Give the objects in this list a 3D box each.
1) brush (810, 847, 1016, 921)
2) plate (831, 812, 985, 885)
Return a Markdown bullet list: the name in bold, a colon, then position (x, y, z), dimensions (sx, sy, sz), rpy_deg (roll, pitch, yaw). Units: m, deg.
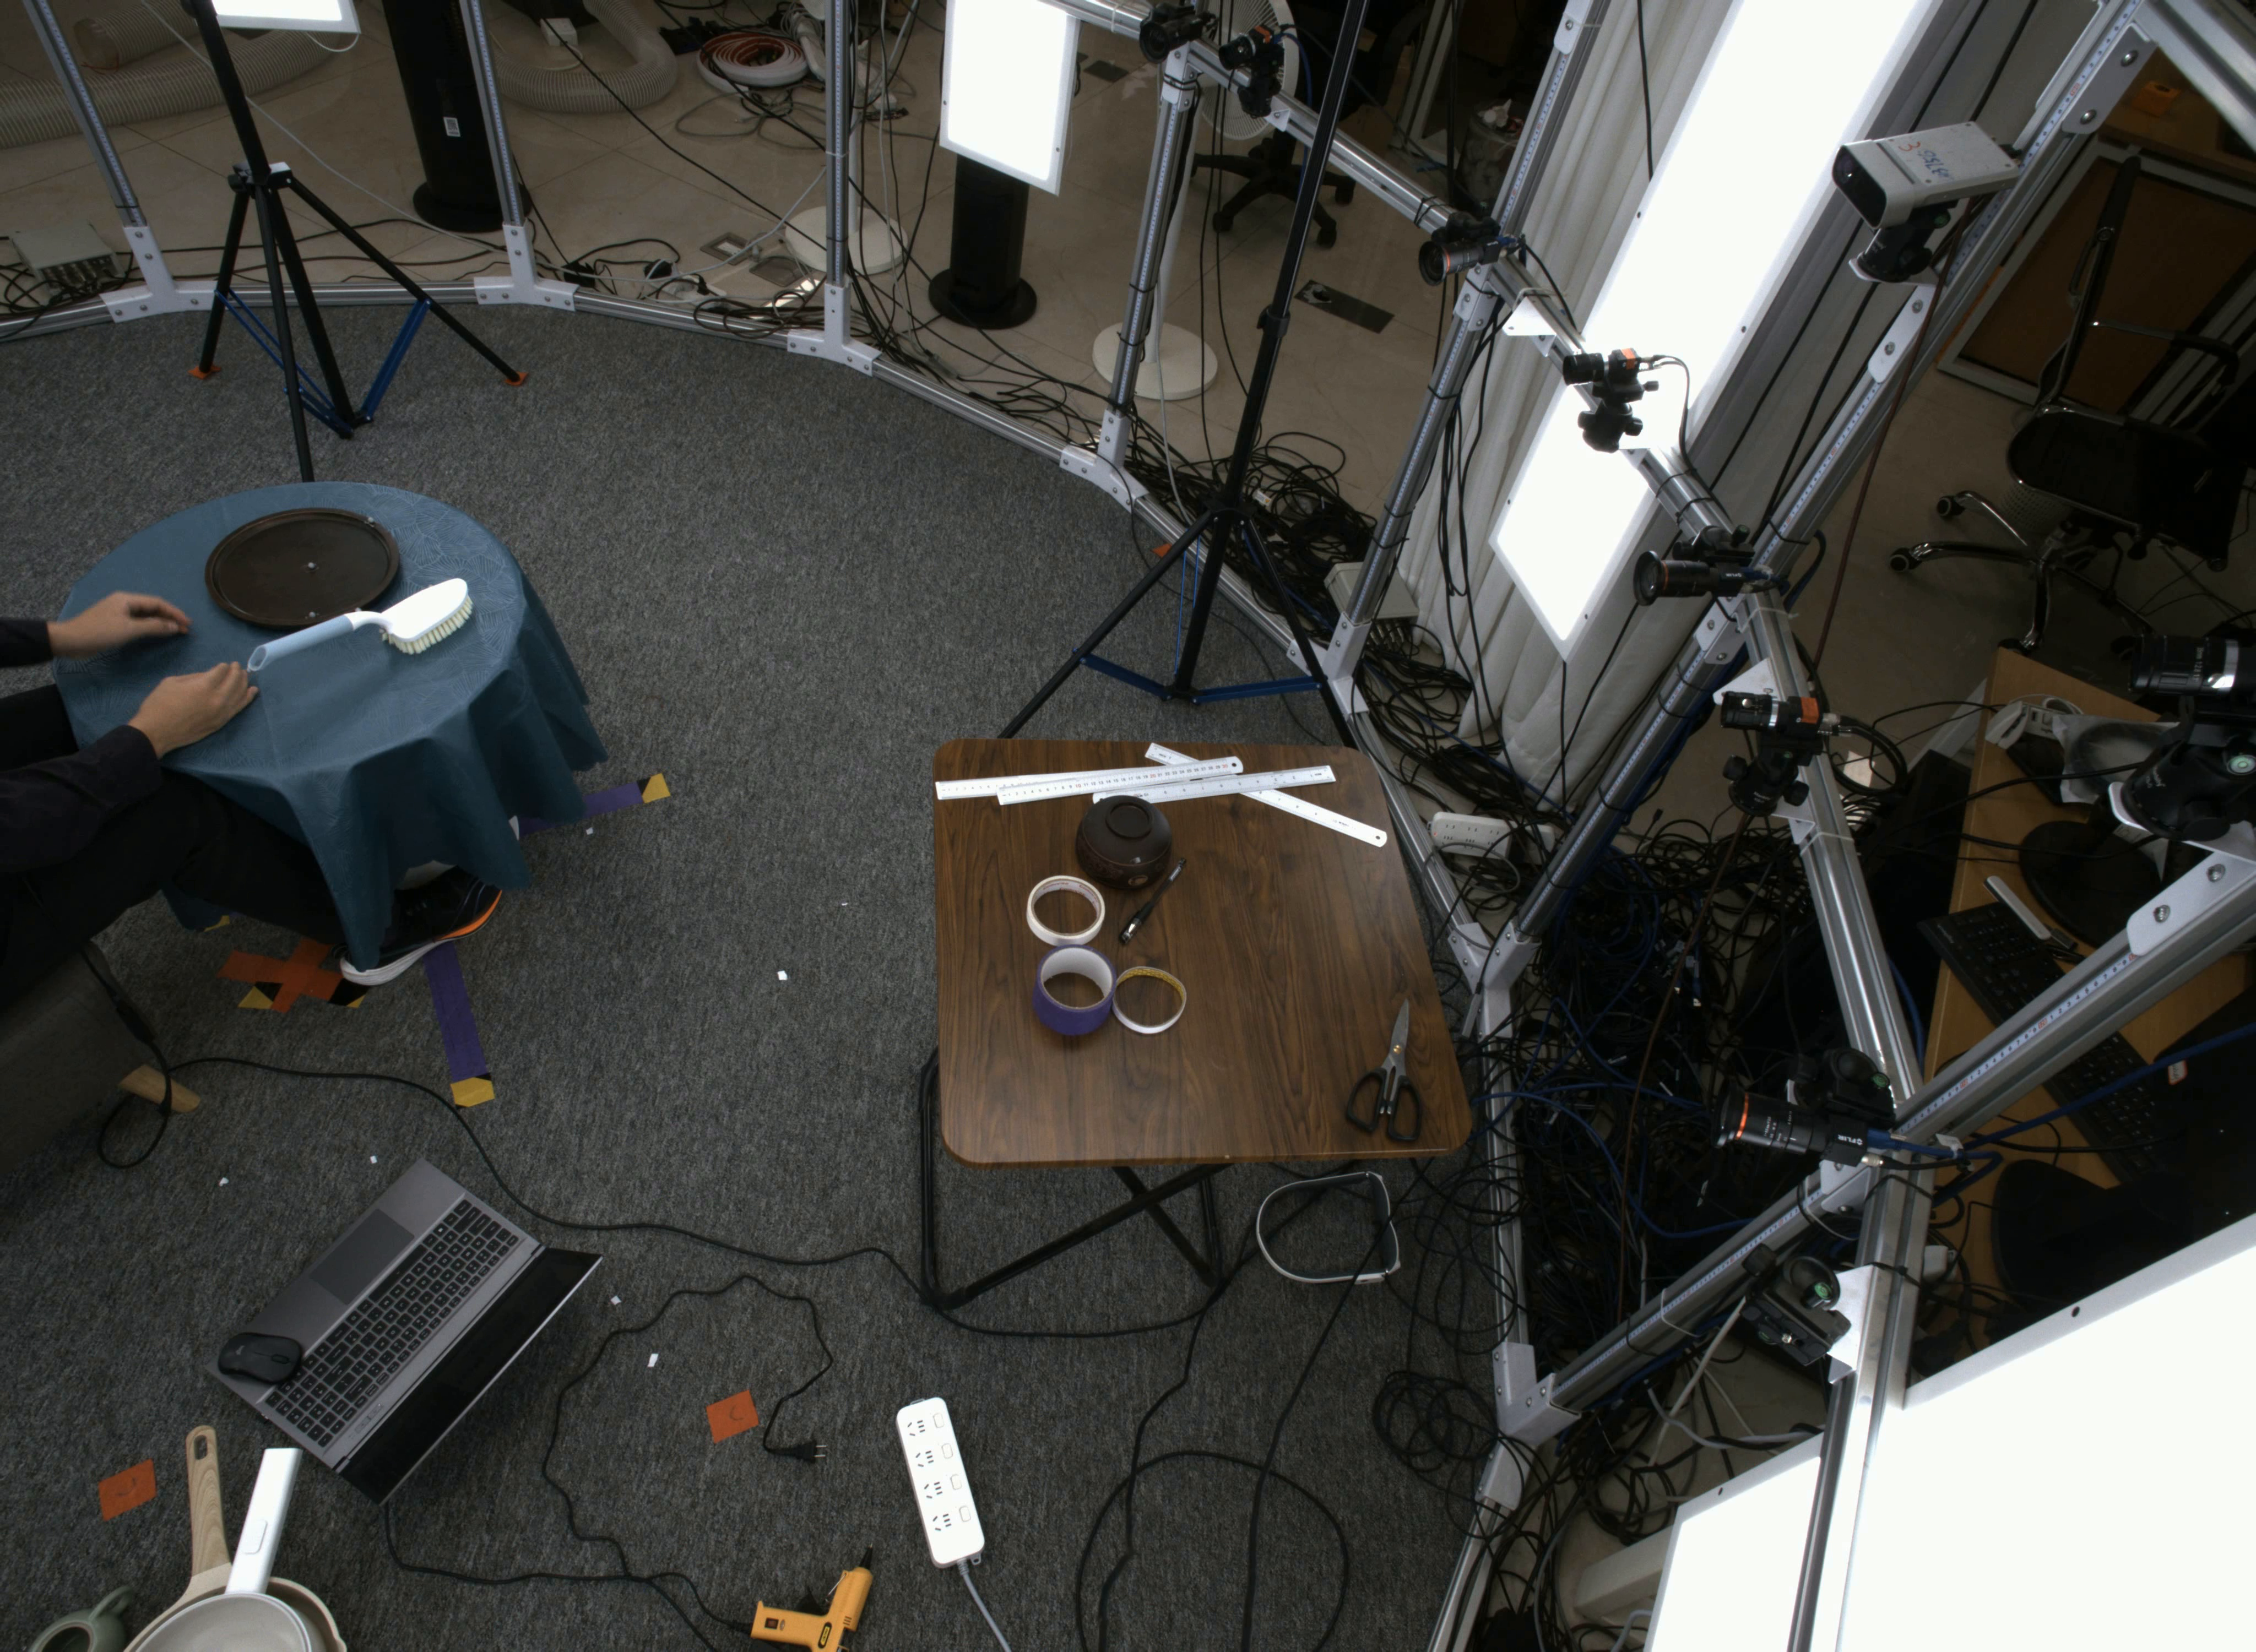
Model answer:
- **brush**: position (-0.320, 0.094, 1.940), dimensions (0.331, 0.084, 0.082), rpy_deg (8, -17, -30)
- **plate**: position (-0.362, 0.033, 2.143), dimensions (0.252, 0.030, 0.250), rpy_deg (8, 25, -2)
